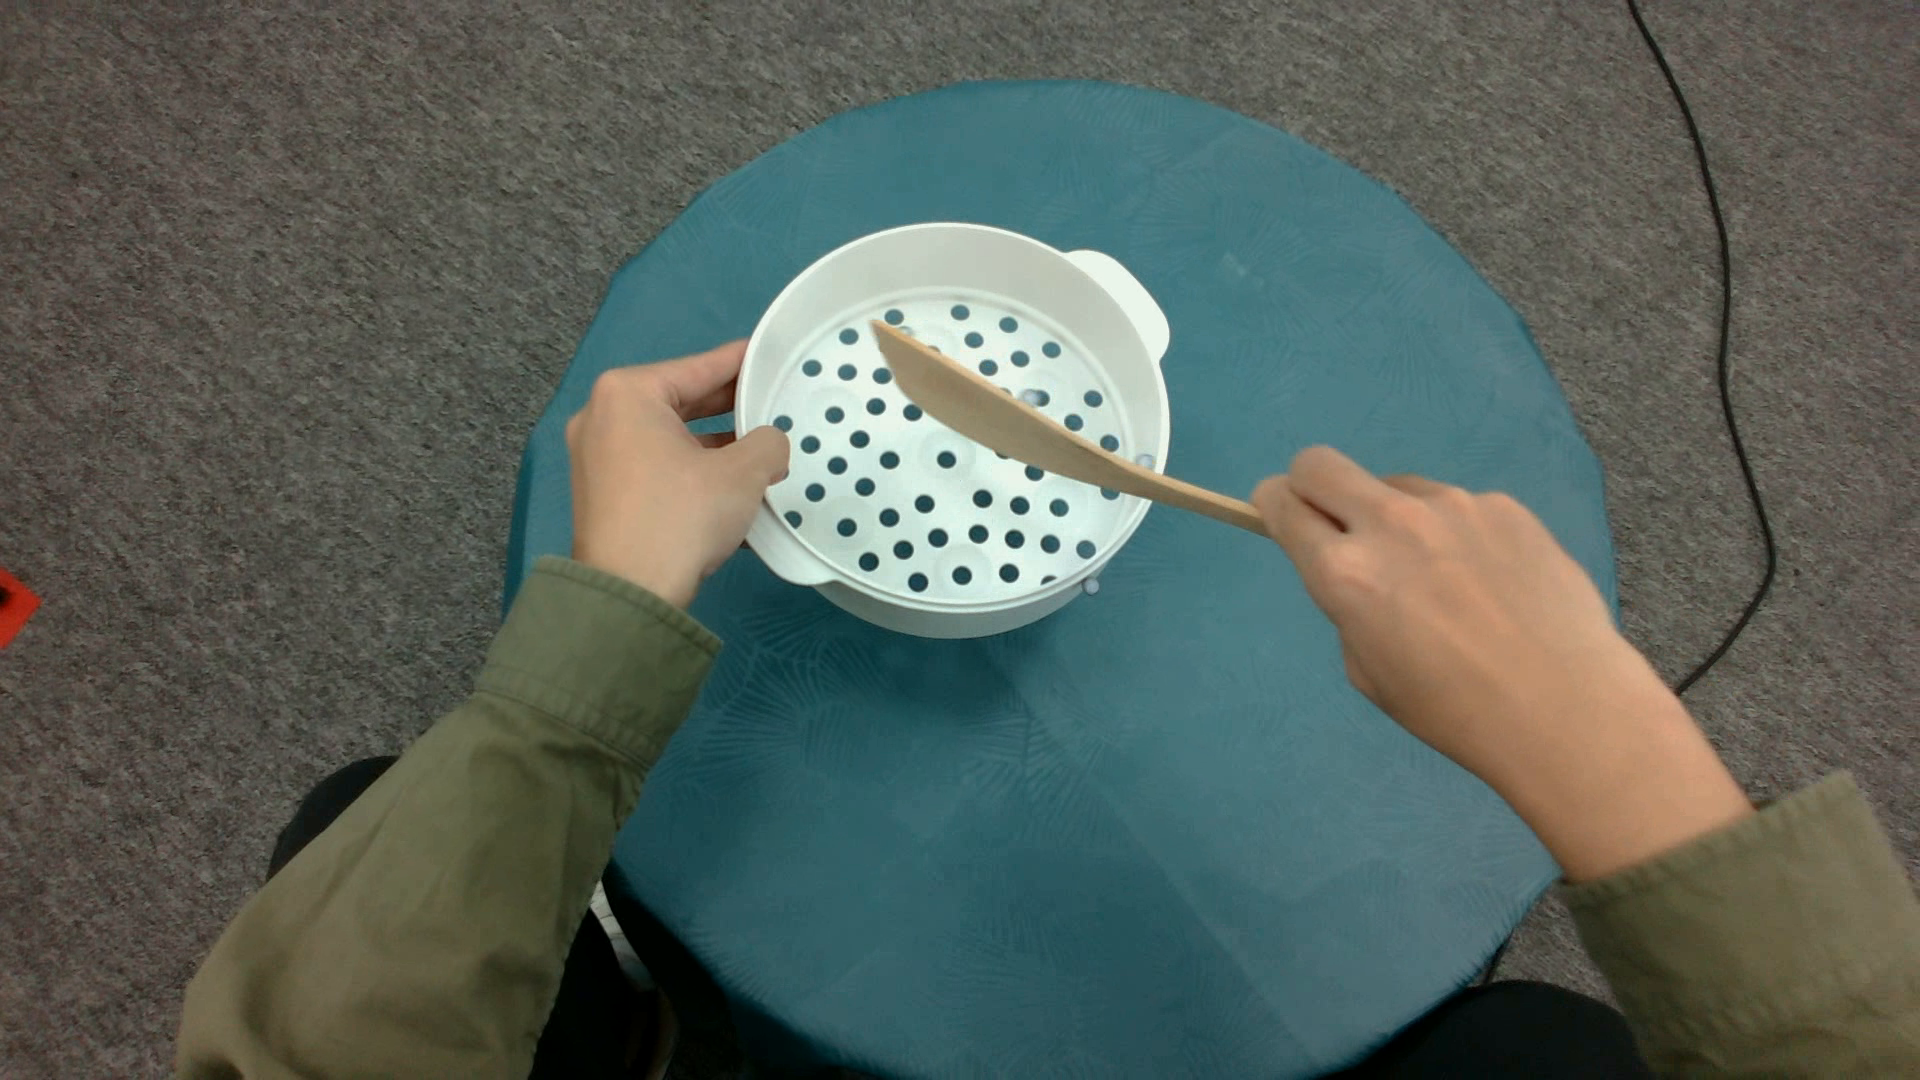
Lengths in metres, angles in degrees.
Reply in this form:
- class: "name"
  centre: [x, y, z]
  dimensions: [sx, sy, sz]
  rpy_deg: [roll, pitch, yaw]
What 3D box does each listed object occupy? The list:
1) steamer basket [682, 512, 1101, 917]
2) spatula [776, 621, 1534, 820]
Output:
- class: "steamer basket"
  centre: [-0.032, 0.085, 0.685]
  dimensions: [0.202, 0.069, 0.231]
  rpy_deg: [38, 65, 22]
- class: "spatula"
  centre: [0.062, 0.075, 0.568]
  dimensions: [0.327, 0.080, 0.016]
  rpy_deg: [6, 60, 27]
